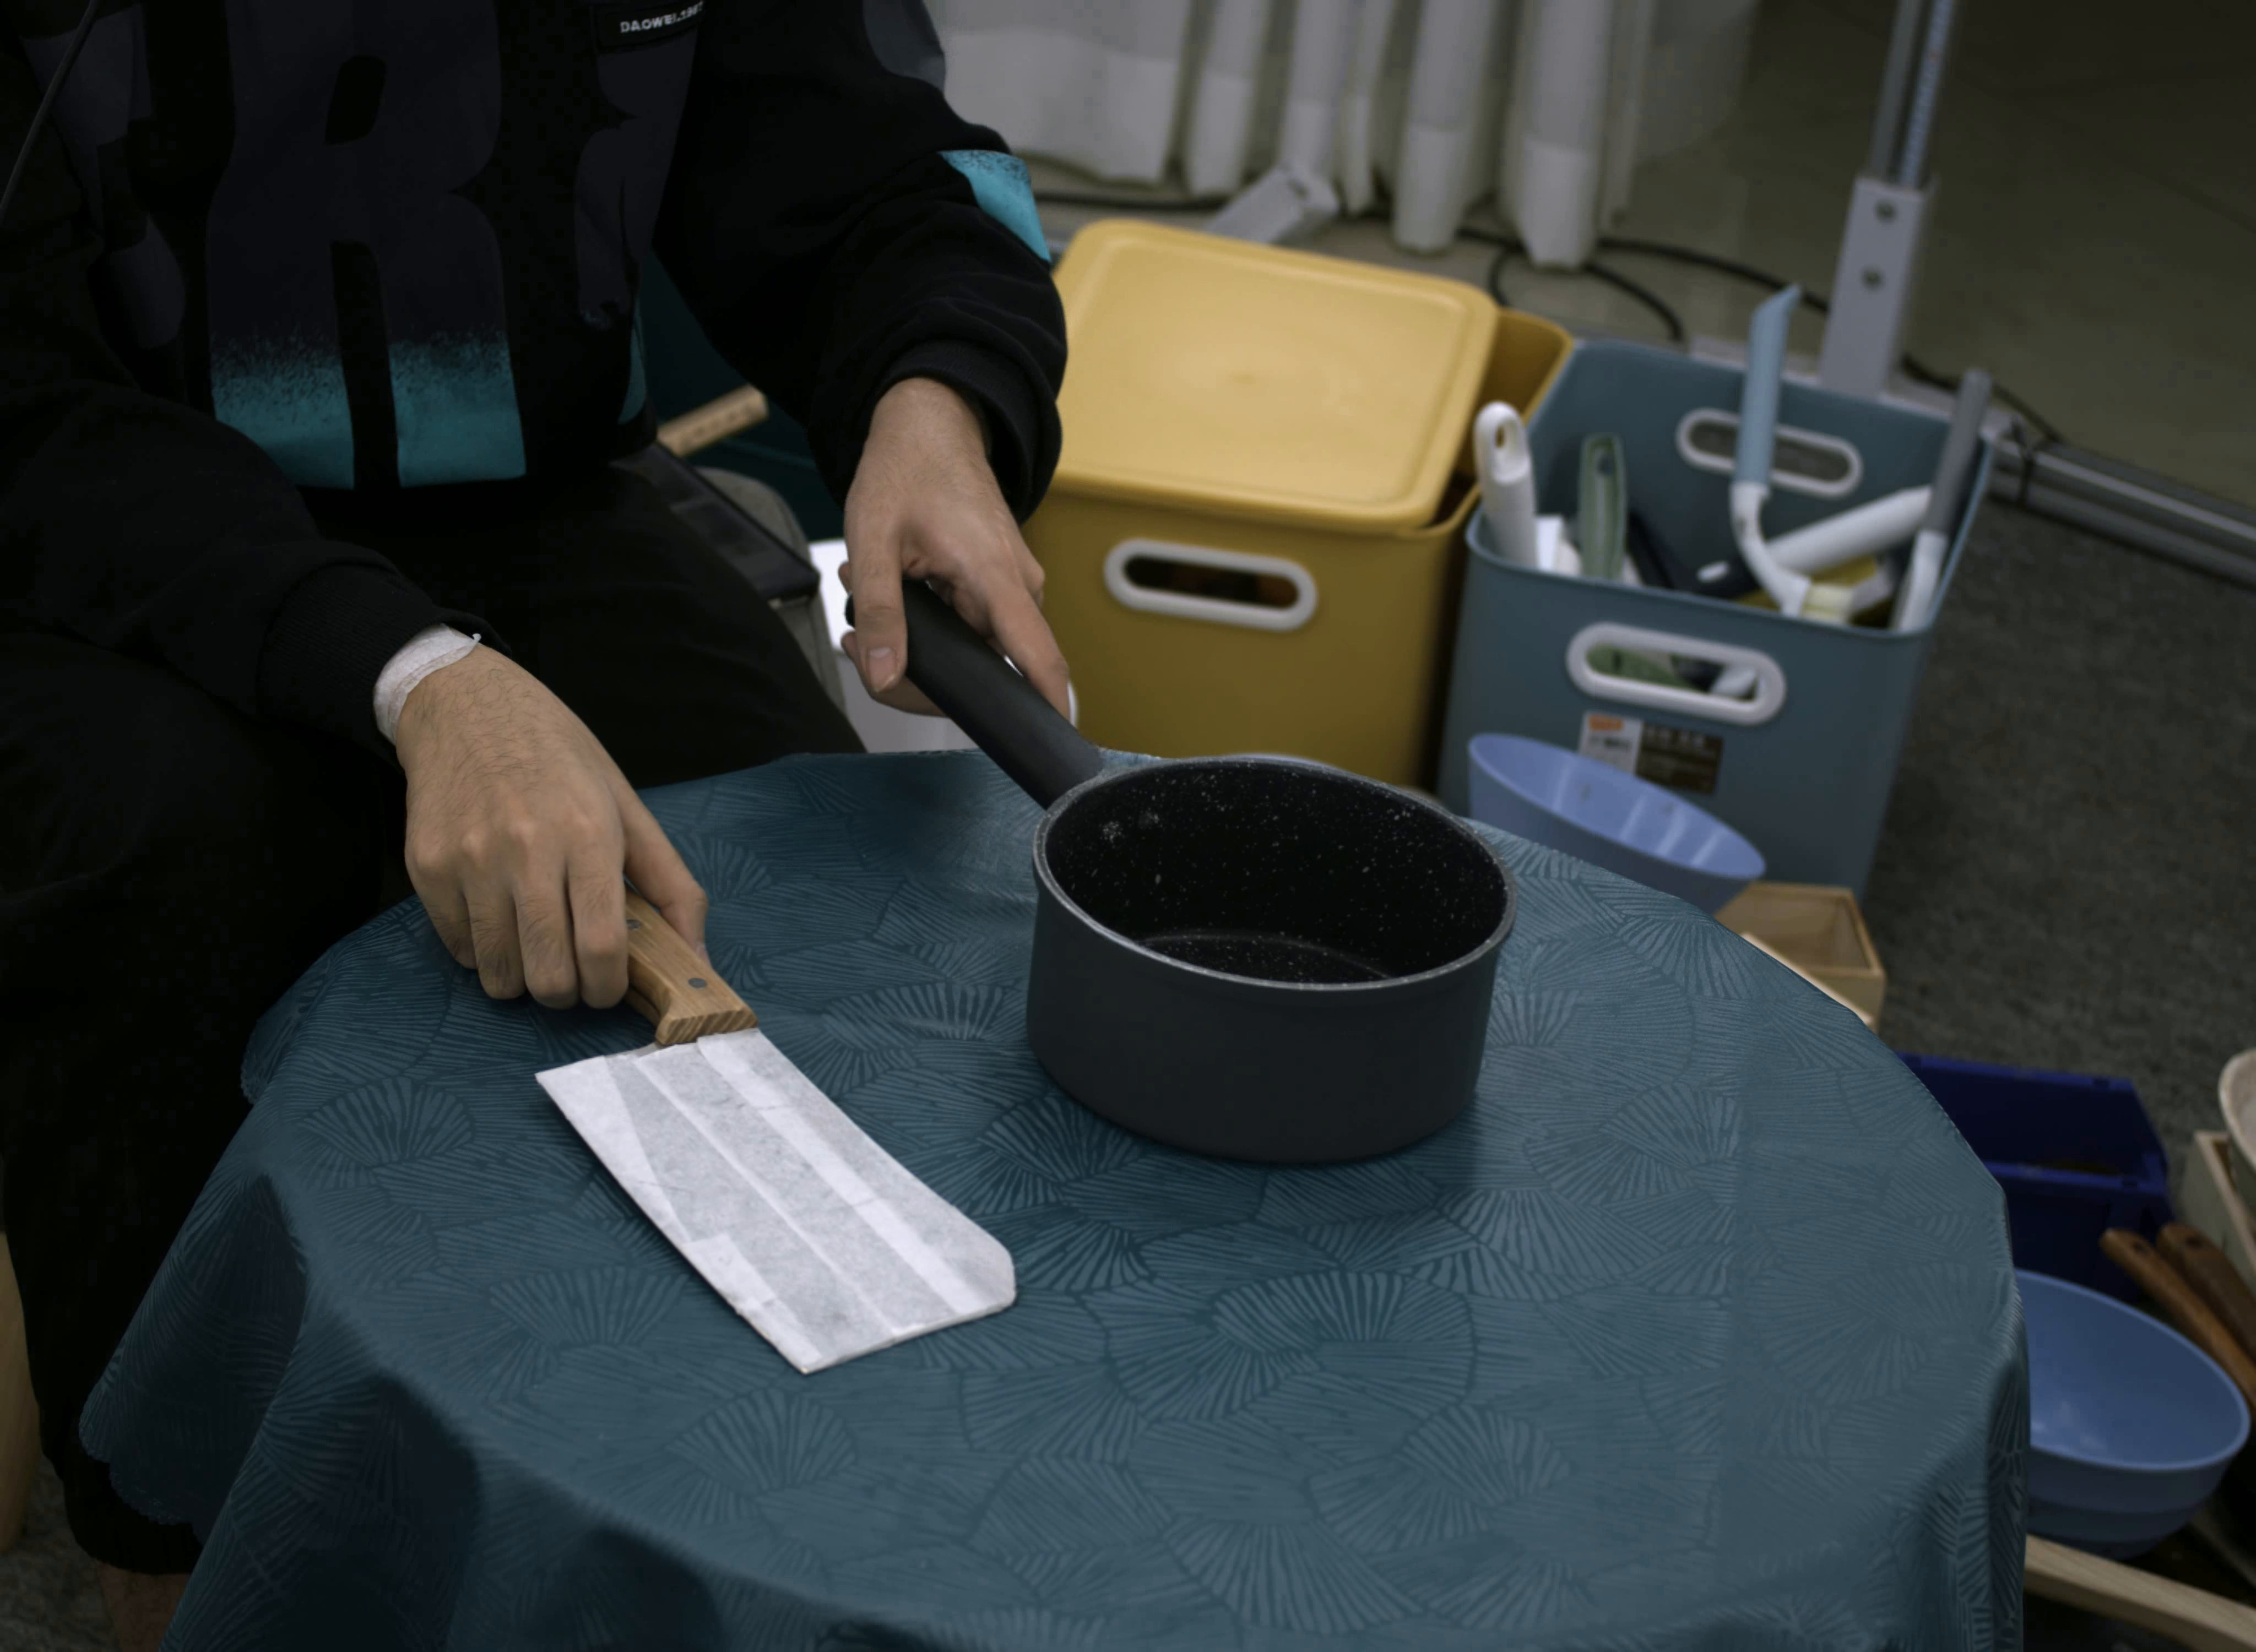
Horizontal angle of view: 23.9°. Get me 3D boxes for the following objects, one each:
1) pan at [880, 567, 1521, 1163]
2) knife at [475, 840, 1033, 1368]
[{"bbox_3d":[0.003,0.011,1.932,0.171,0.086,0.331,-10,32,-34],"label":"pan"},{"bbox_3d":[-0.142,0.090,1.817,0.113,0.021,0.318,-10,34,-28],"label":"knife"}]
